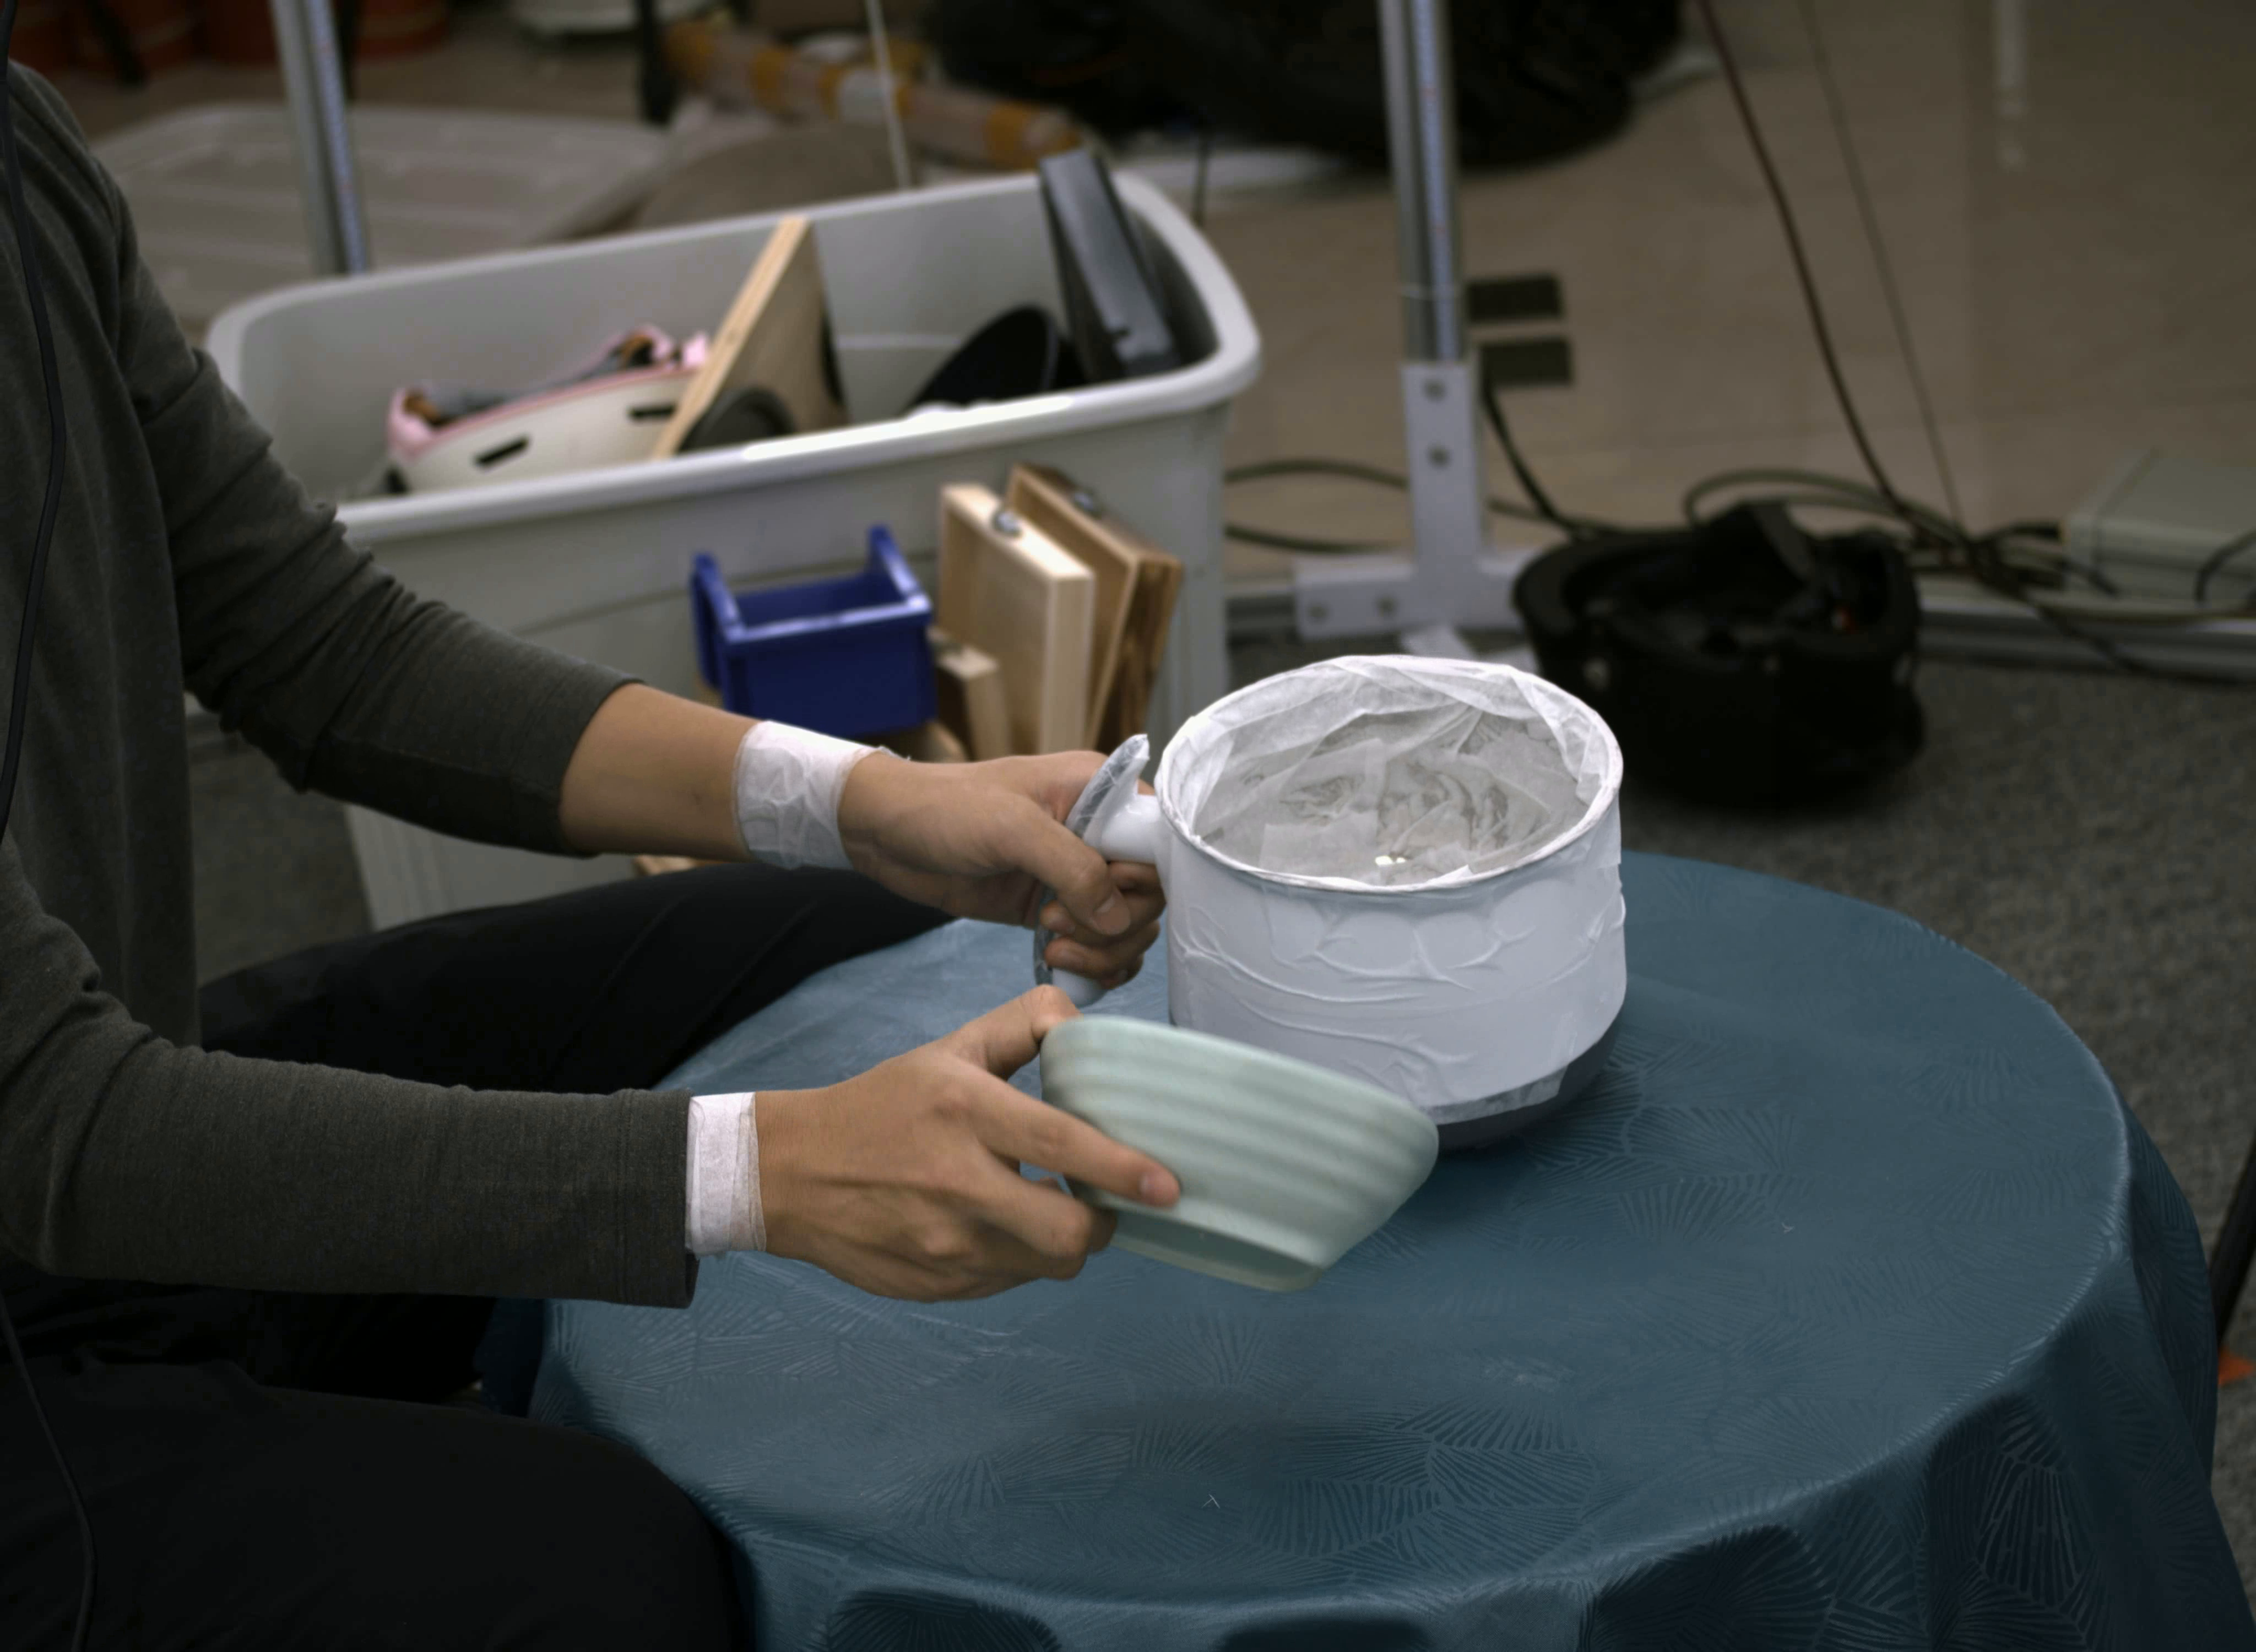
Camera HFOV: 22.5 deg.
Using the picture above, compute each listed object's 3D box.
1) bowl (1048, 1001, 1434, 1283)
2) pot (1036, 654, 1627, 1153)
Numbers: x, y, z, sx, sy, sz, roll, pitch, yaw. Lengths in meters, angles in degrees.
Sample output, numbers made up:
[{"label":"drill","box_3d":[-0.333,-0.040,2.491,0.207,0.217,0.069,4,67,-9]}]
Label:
[{"label":"bowl","box_3d":[0.029,0.113,1.930,0.151,0.058,0.152,21,-8,3]},{"label":"pot","box_3d":[0.076,0.030,2.179,0.233,0.139,0.176,5,32,14]}]
